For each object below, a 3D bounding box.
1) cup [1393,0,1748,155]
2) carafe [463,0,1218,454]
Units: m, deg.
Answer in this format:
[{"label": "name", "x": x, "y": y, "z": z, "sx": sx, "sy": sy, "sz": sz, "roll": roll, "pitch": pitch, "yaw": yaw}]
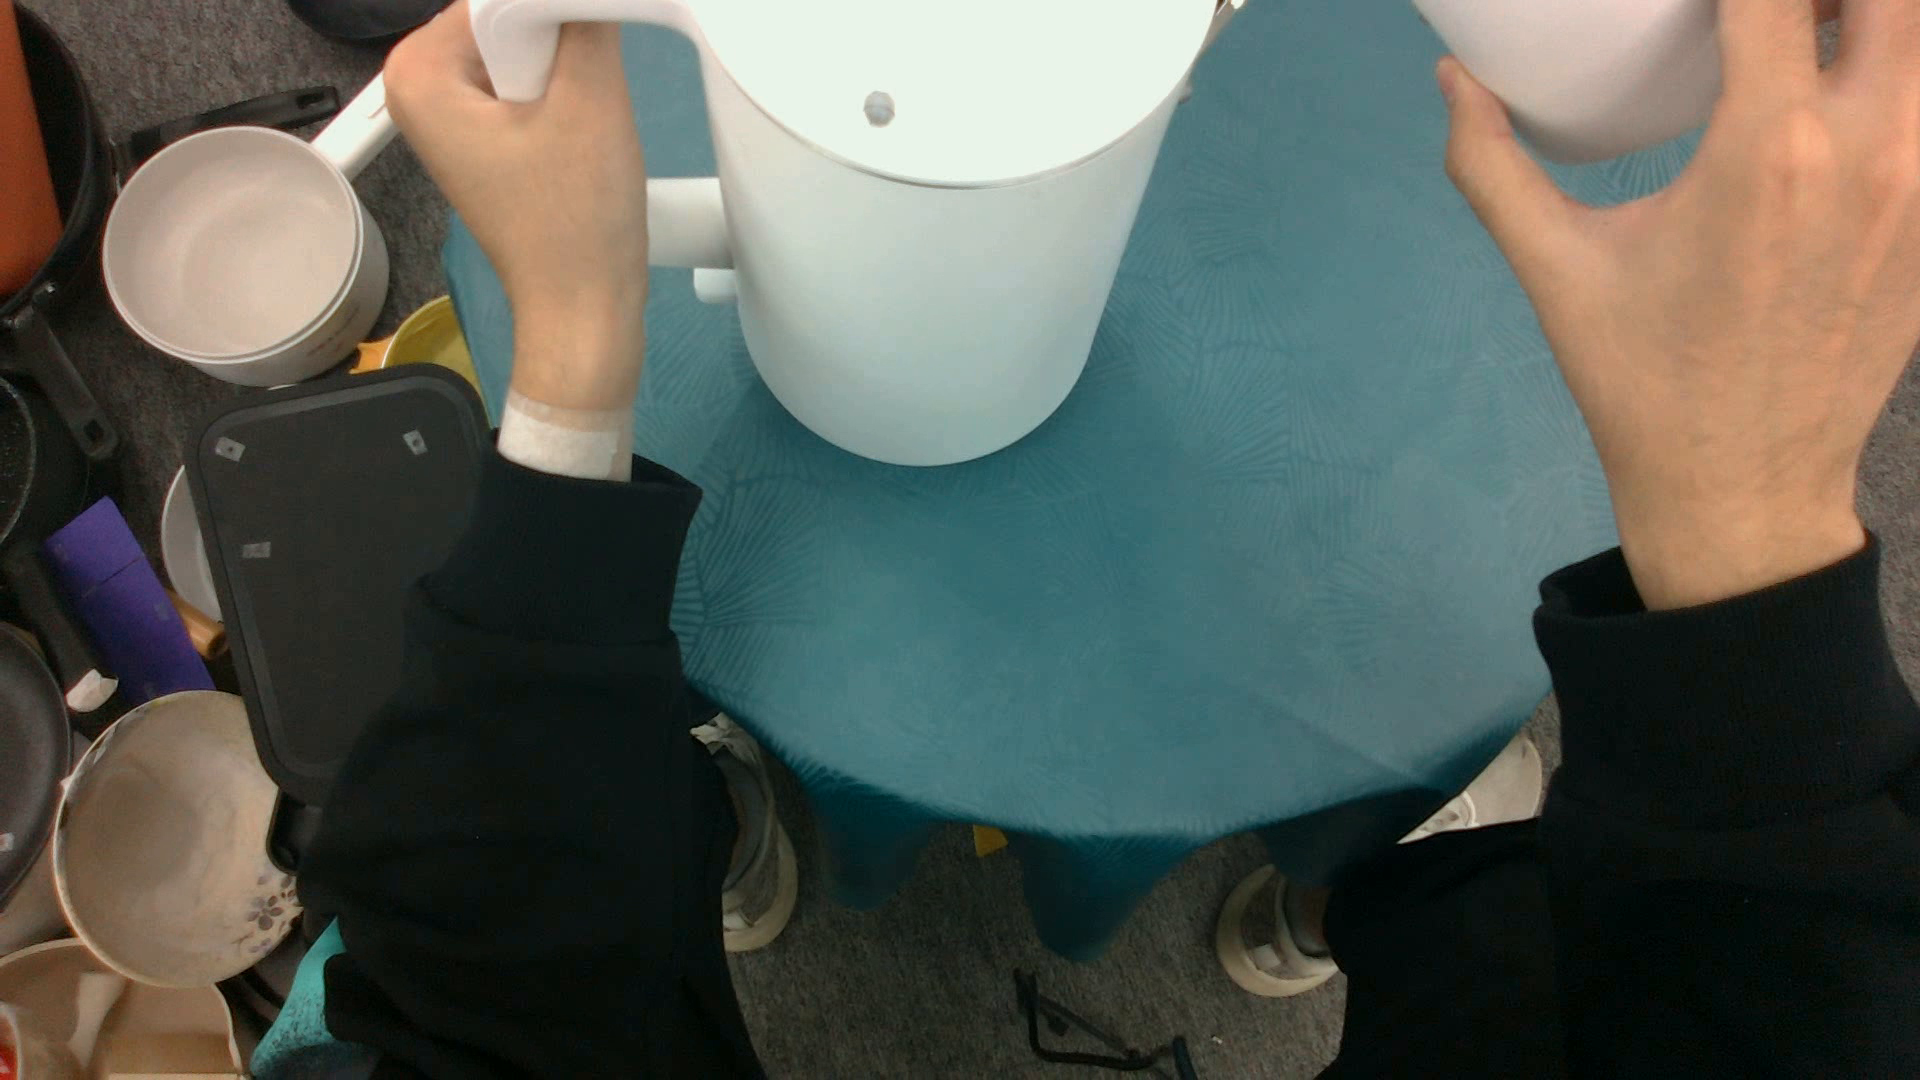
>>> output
[{"label": "cup", "x": 0.141, "y": -0.160, "z": 0.343, "sx": 0.125, "sy": 0.081, "sz": 0.082, "roll": 28, "pitch": 72, "yaw": -41}, {"label": "carafe", "x": -0.040, "y": -0.137, "z": 0.472, "sx": 0.213, "sy": 0.239, "sz": 0.152, "roll": -1, "pitch": 75, "yaw": -6}]
